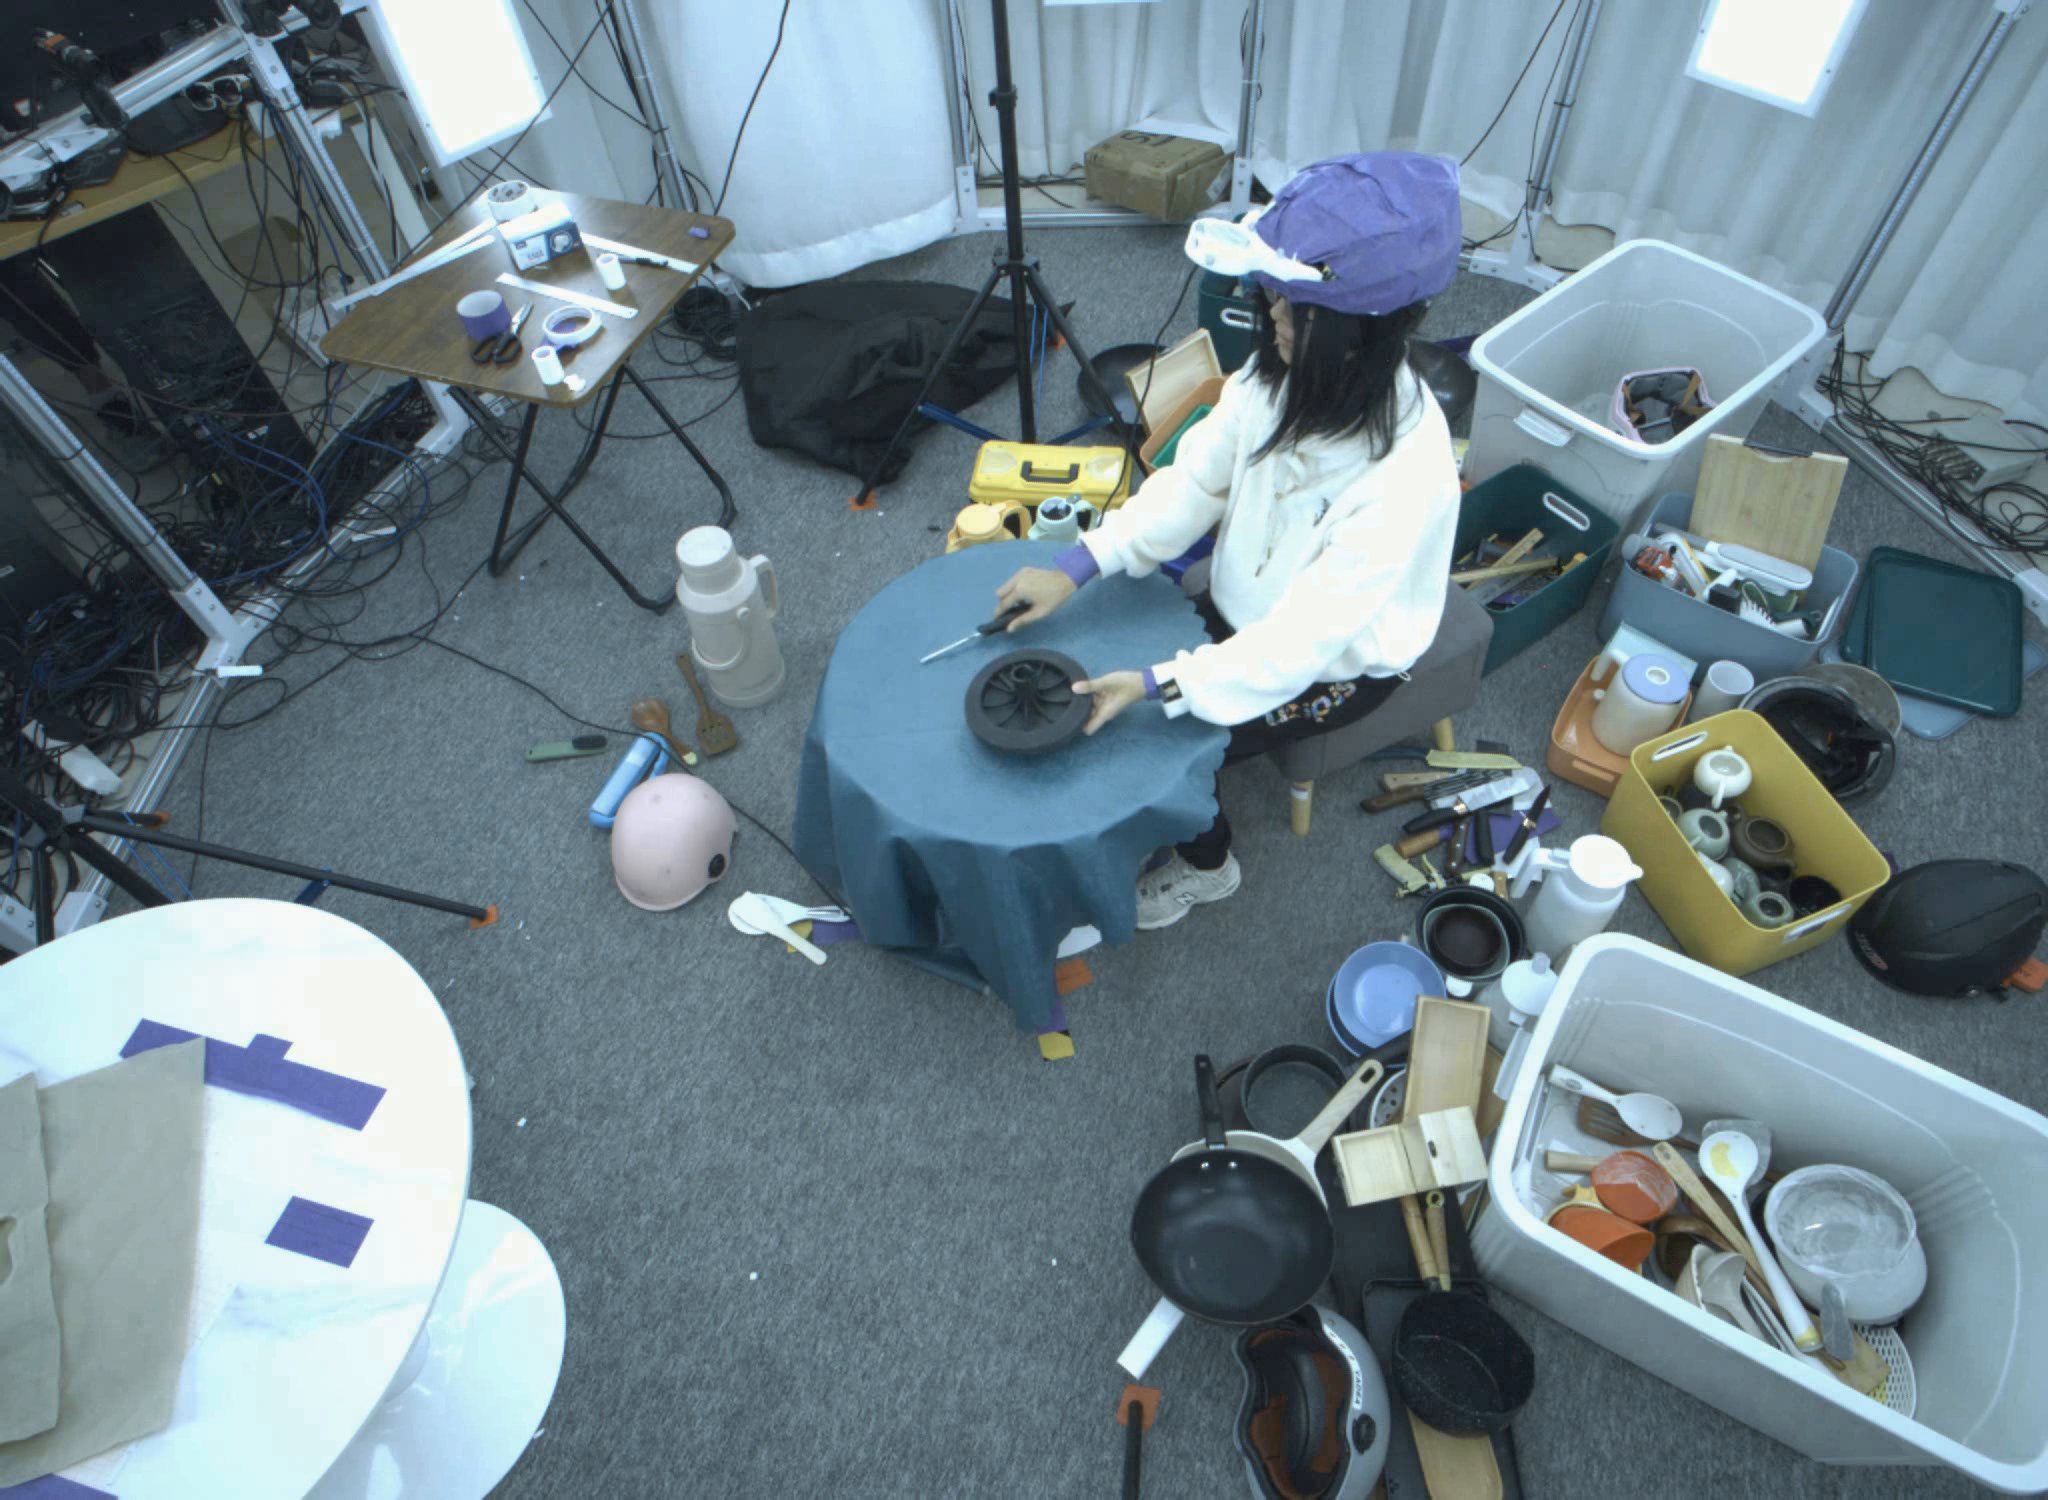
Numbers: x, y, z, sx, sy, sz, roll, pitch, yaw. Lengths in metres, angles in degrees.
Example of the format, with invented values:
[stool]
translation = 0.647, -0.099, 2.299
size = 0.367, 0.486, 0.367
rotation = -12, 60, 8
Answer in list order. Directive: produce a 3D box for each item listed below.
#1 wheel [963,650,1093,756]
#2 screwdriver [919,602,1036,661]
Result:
[wheel]
translation = 0.001, -0.083, 1.765
size = 0.187, 0.080, 0.188
rotation = 19, 59, 23
[screwdriver]
translation = -0.072, -0.178, 1.890
size = 0.197, 0.032, 0.031
rotation = -28, 58, -6
